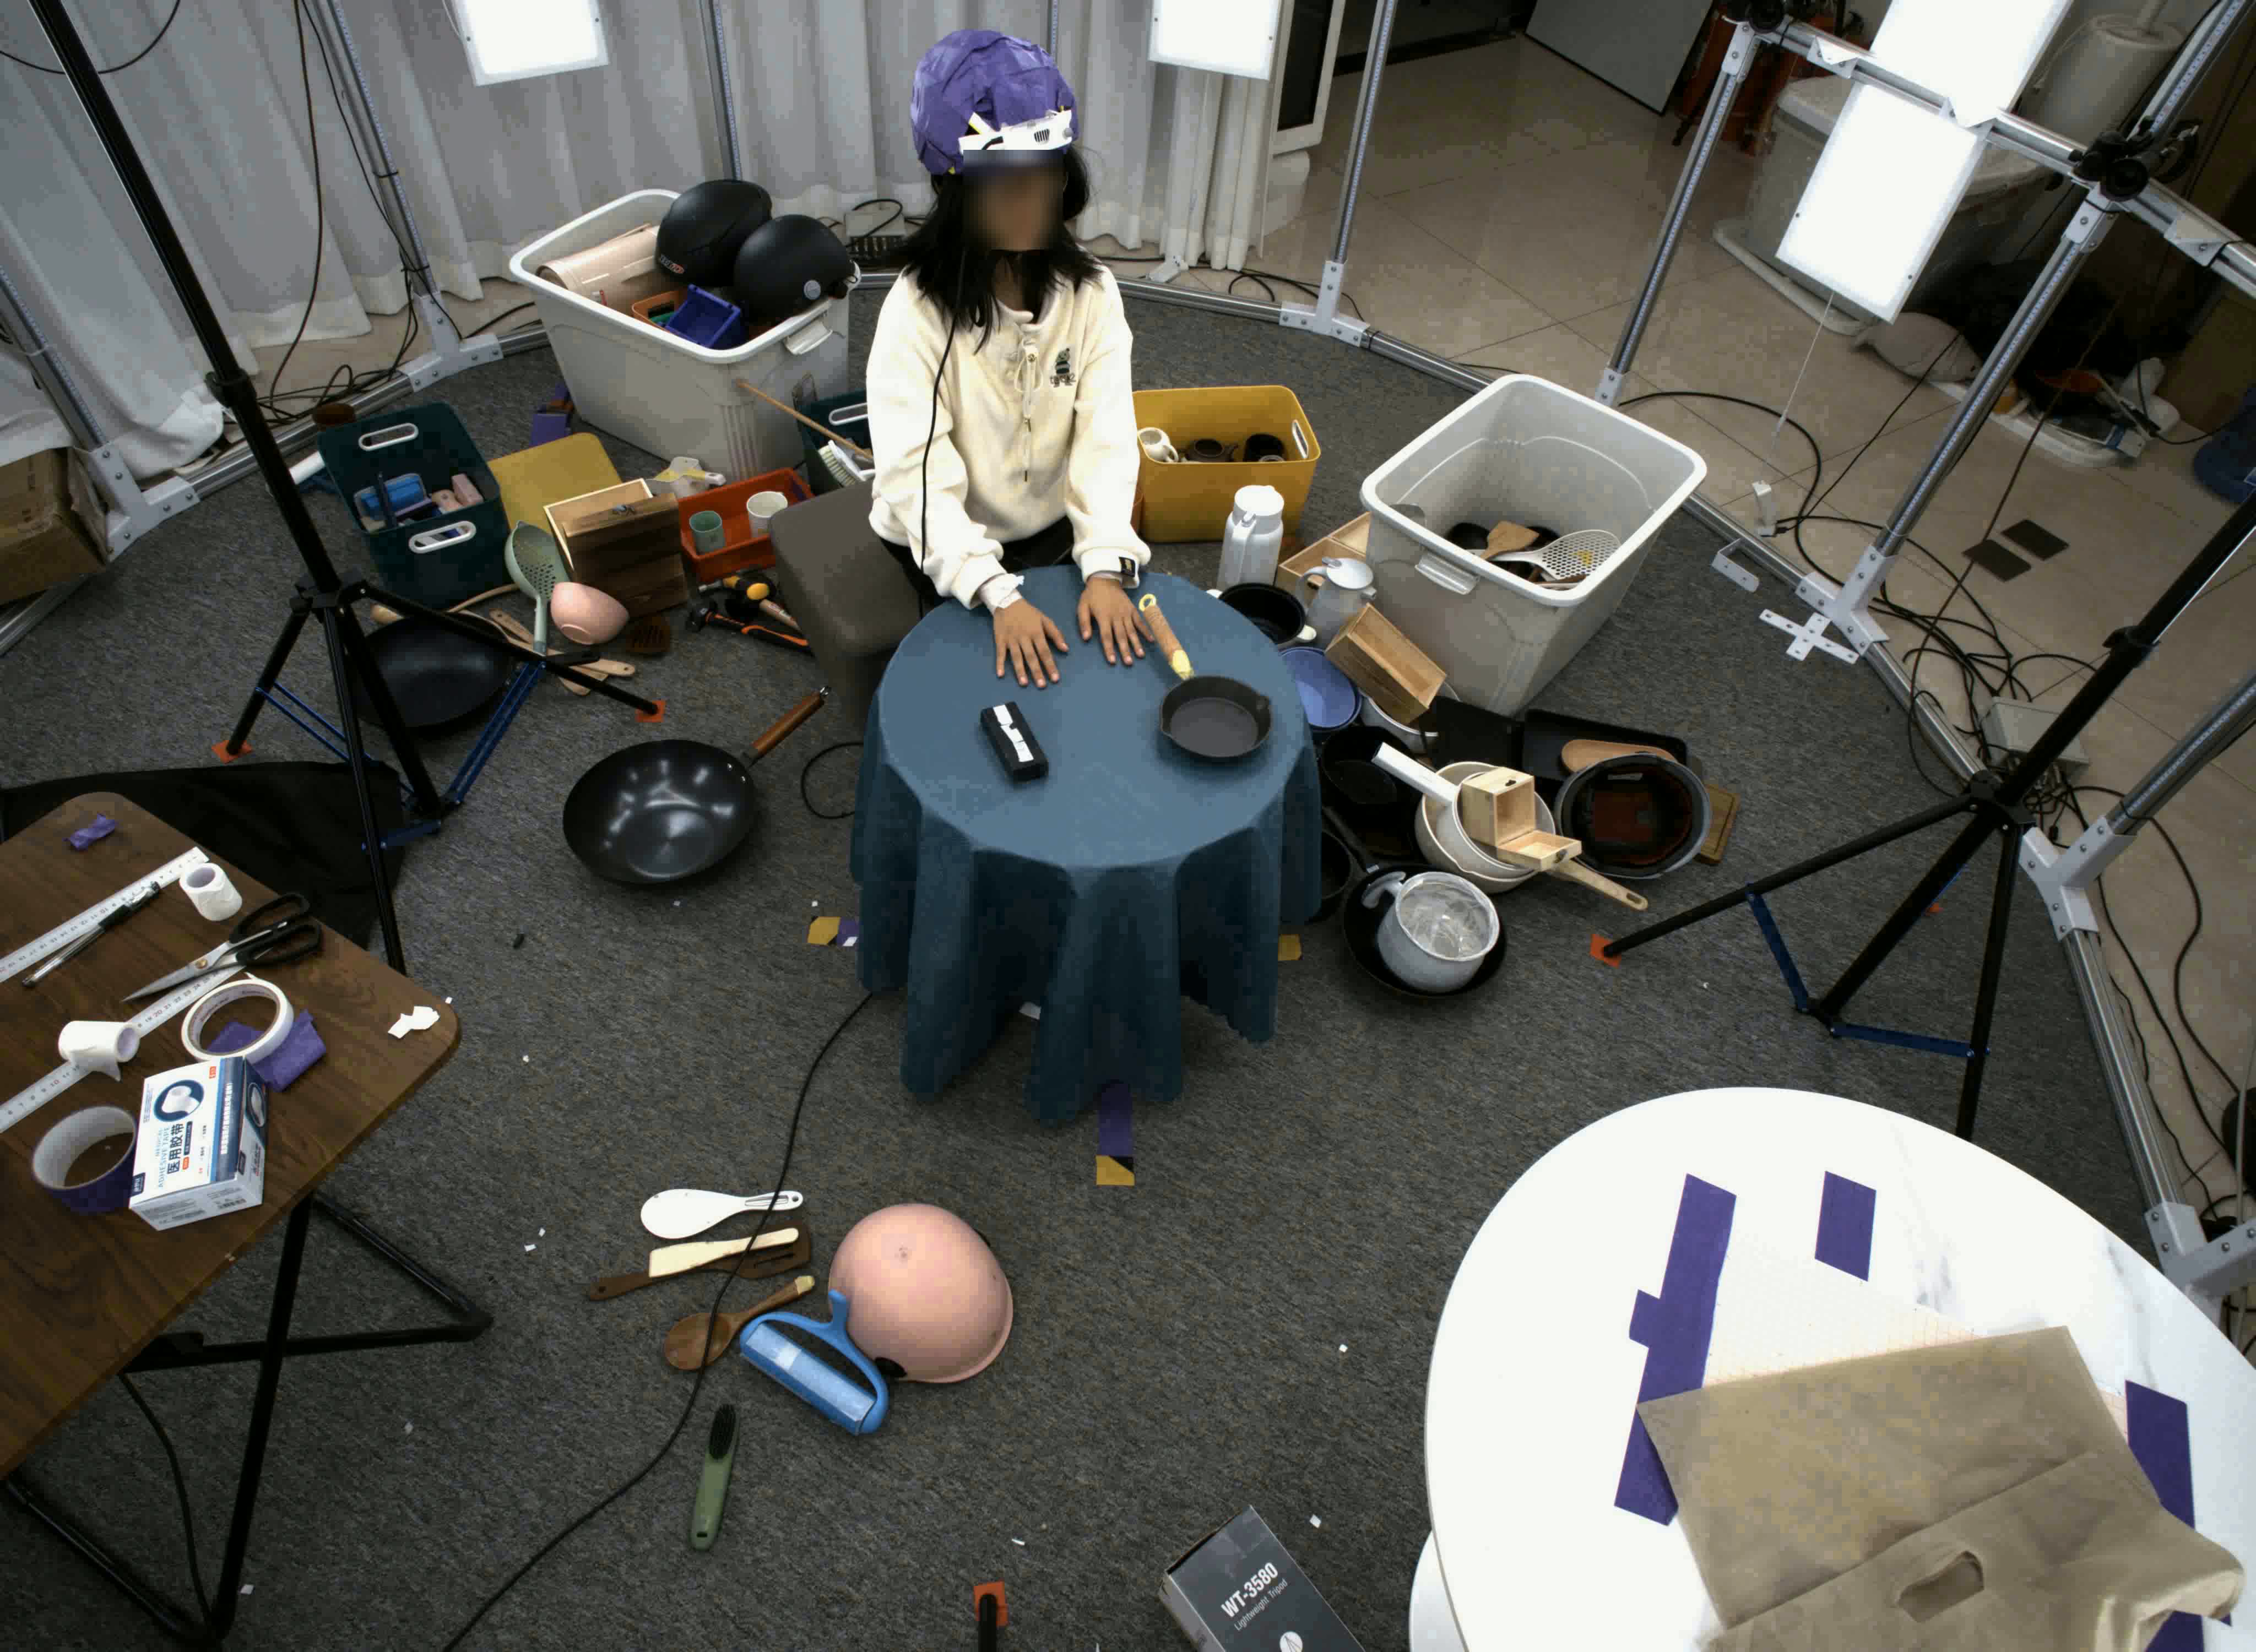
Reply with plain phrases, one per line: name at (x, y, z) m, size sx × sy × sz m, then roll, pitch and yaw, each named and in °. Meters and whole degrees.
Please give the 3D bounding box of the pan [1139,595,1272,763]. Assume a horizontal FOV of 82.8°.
pan at (0.088, -0.212, 1.826) m, size 0.169 × 0.048 × 0.332 m, roll -16°, pitch 53°, yaw -15°

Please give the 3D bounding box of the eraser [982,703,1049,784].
eraser at (-0.153, -0.113, 1.740) m, size 0.053 × 0.030 × 0.128 m, roll -16°, pitch 51°, yaw -17°
